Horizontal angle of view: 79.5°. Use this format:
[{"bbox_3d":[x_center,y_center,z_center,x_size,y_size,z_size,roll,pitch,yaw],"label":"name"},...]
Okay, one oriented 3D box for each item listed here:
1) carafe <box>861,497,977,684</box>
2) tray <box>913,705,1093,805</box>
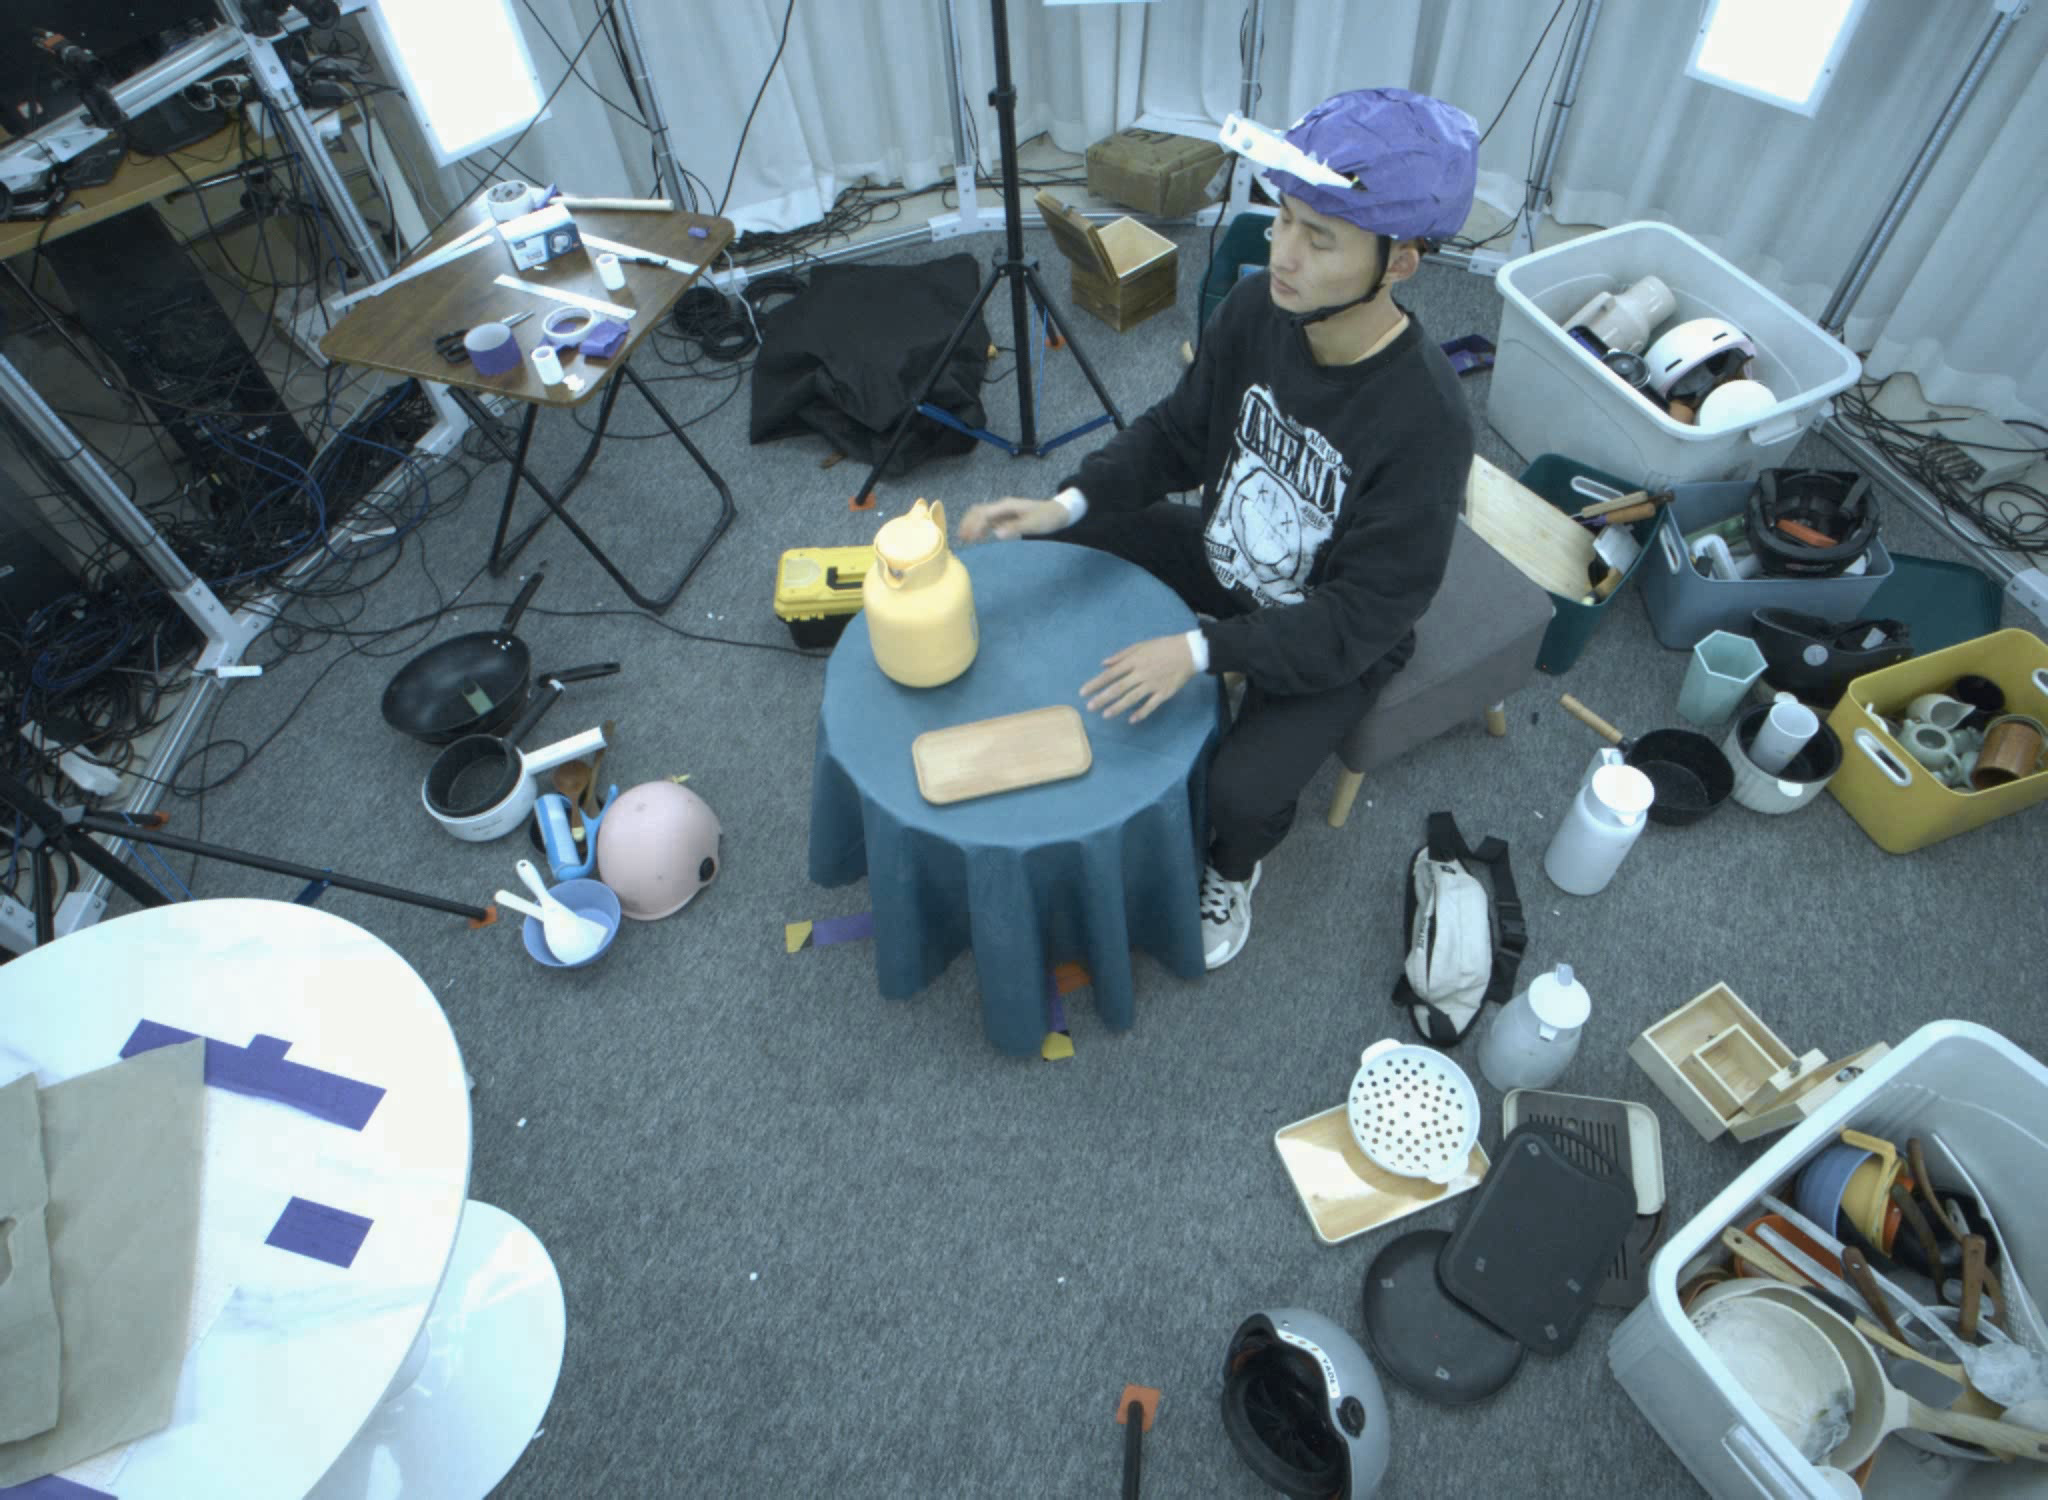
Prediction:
[{"bbox_3d":[-0.150,-0.240,1.796,0.162,0.263,0.202,13,58,9],"label":"carafe"},{"bbox_3d":[-0.031,0.007,1.769,0.252,0.023,0.128,-10,57,-6],"label":"tray"}]
